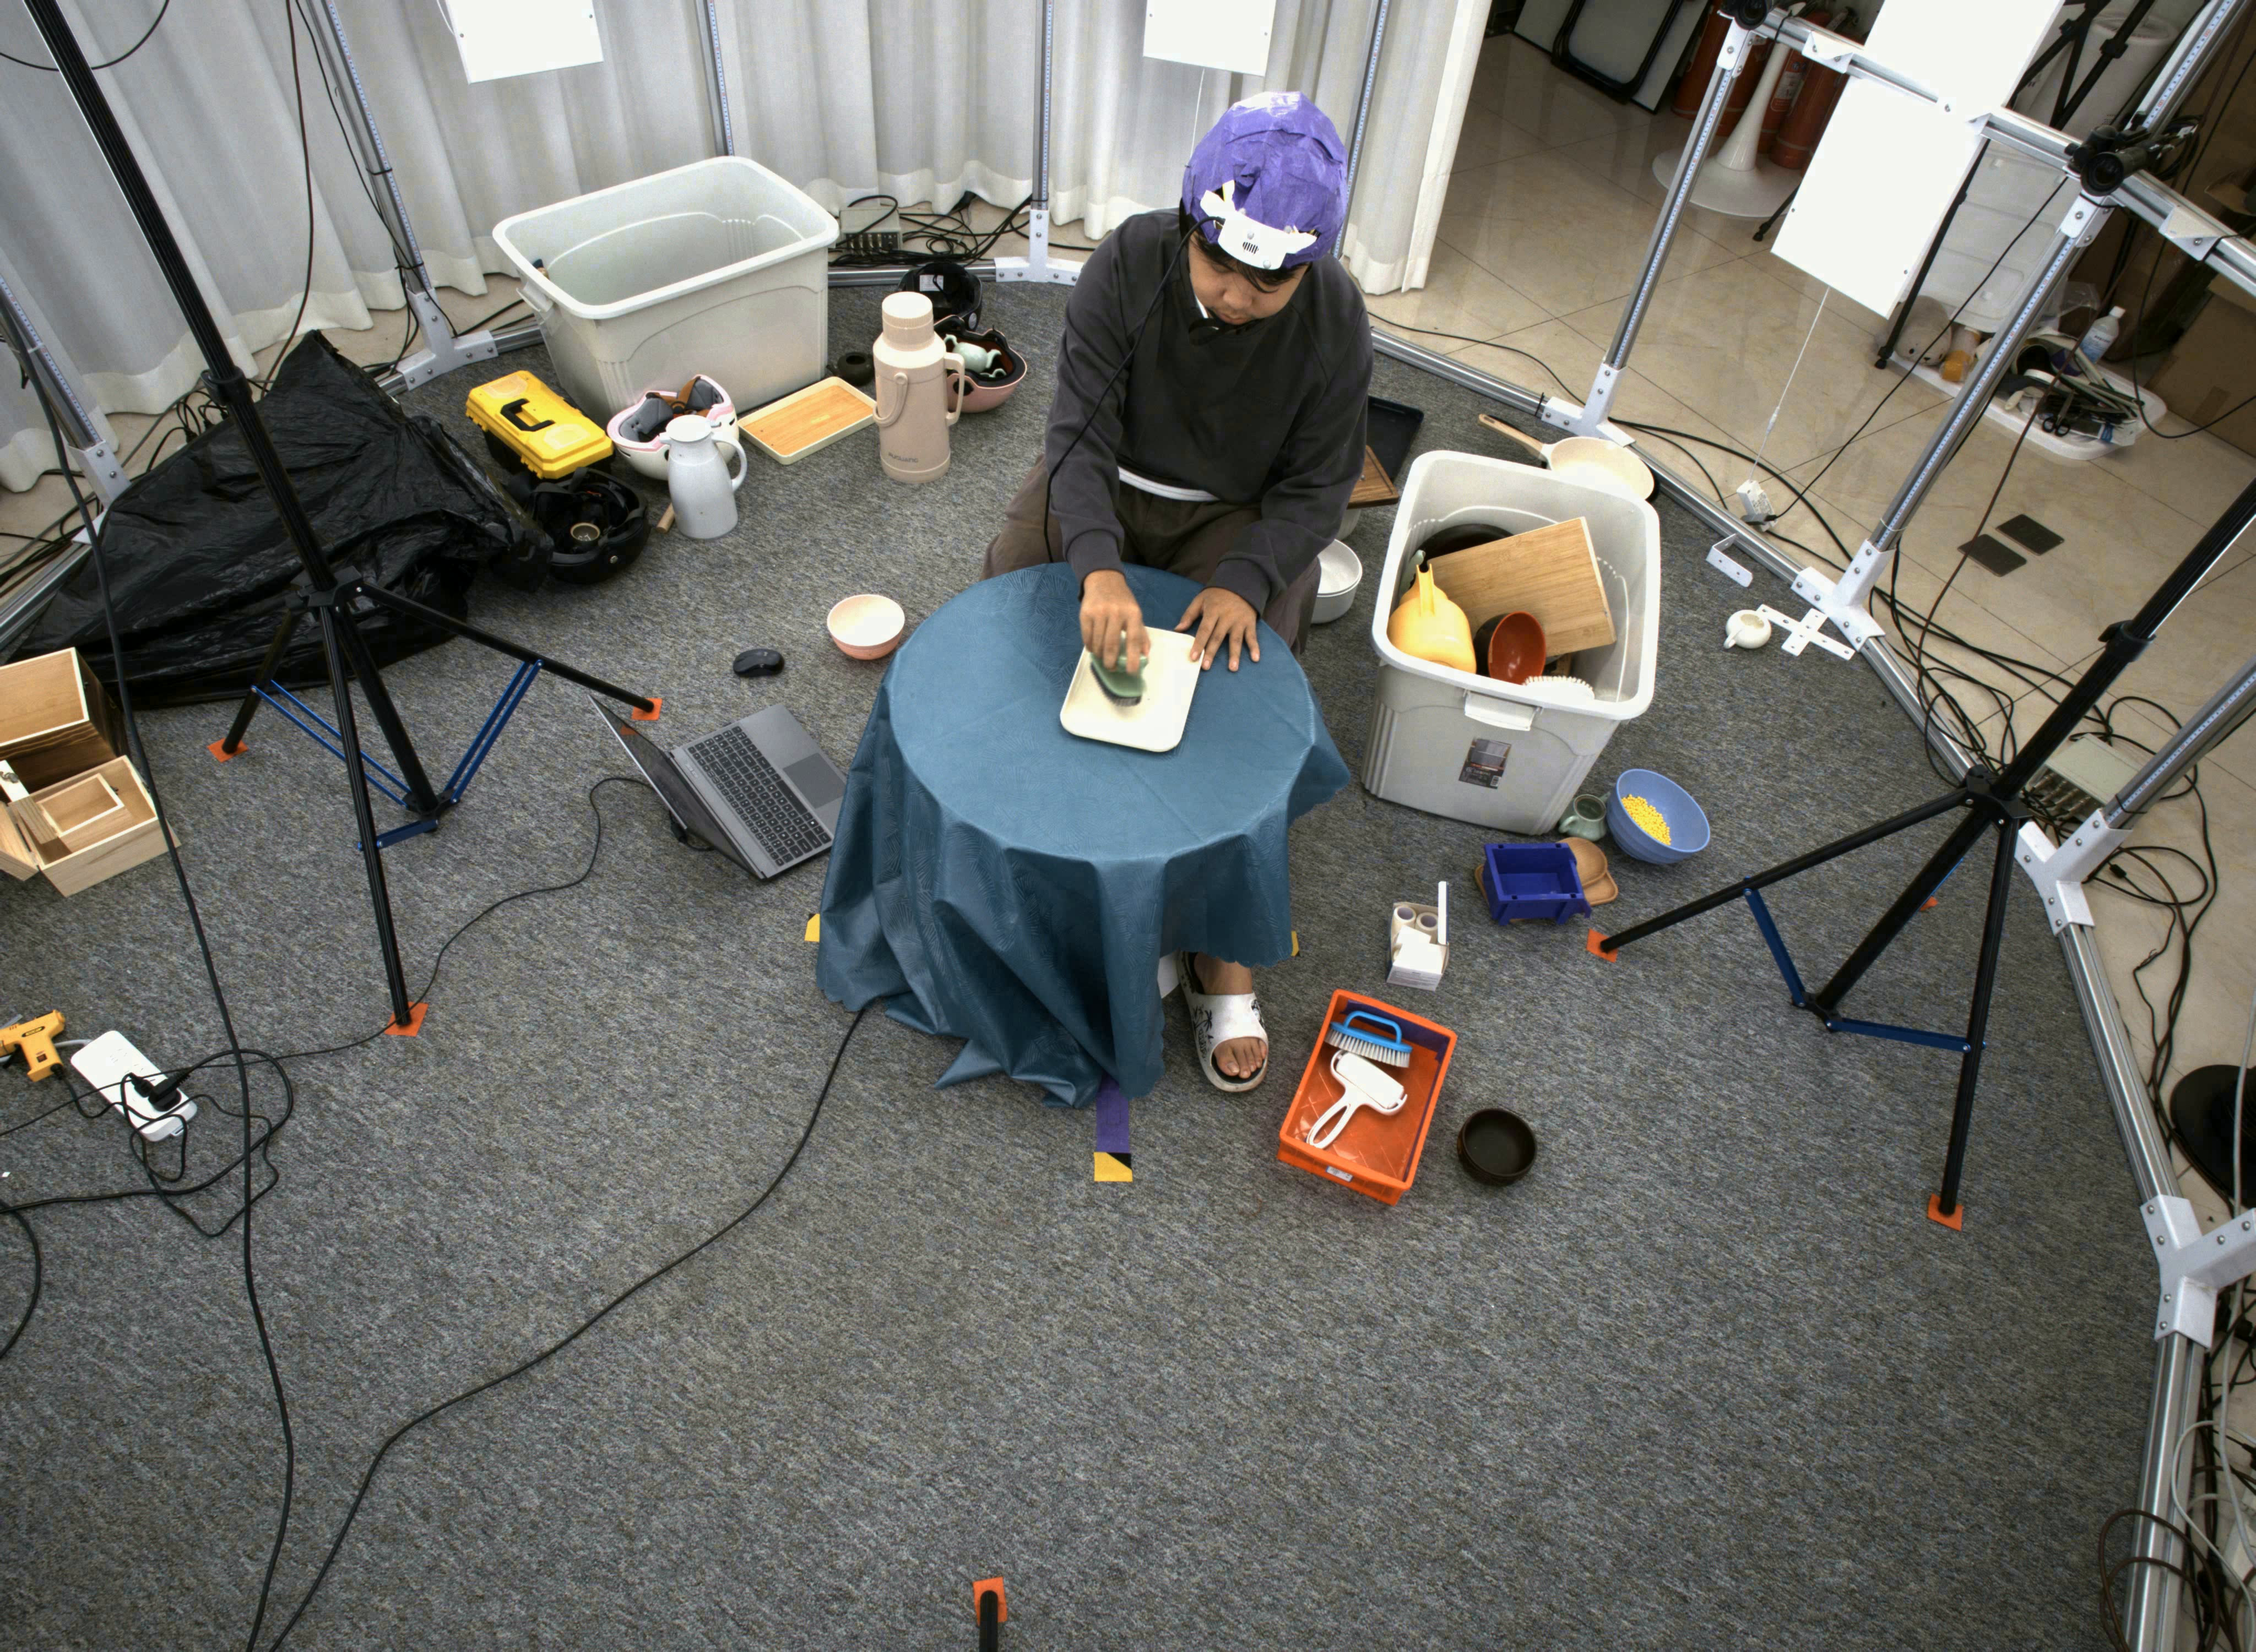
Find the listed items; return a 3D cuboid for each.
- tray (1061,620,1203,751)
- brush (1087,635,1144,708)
[{"bbox_3d":[0.008,-0.202,1.829,0.171,0.017,0.245,12,49,5],"label":"tray"},{"bbox_3d":[-0.016,-0.216,1.775,0.059,0.074,0.125,-4,28,-24],"label":"brush"}]
